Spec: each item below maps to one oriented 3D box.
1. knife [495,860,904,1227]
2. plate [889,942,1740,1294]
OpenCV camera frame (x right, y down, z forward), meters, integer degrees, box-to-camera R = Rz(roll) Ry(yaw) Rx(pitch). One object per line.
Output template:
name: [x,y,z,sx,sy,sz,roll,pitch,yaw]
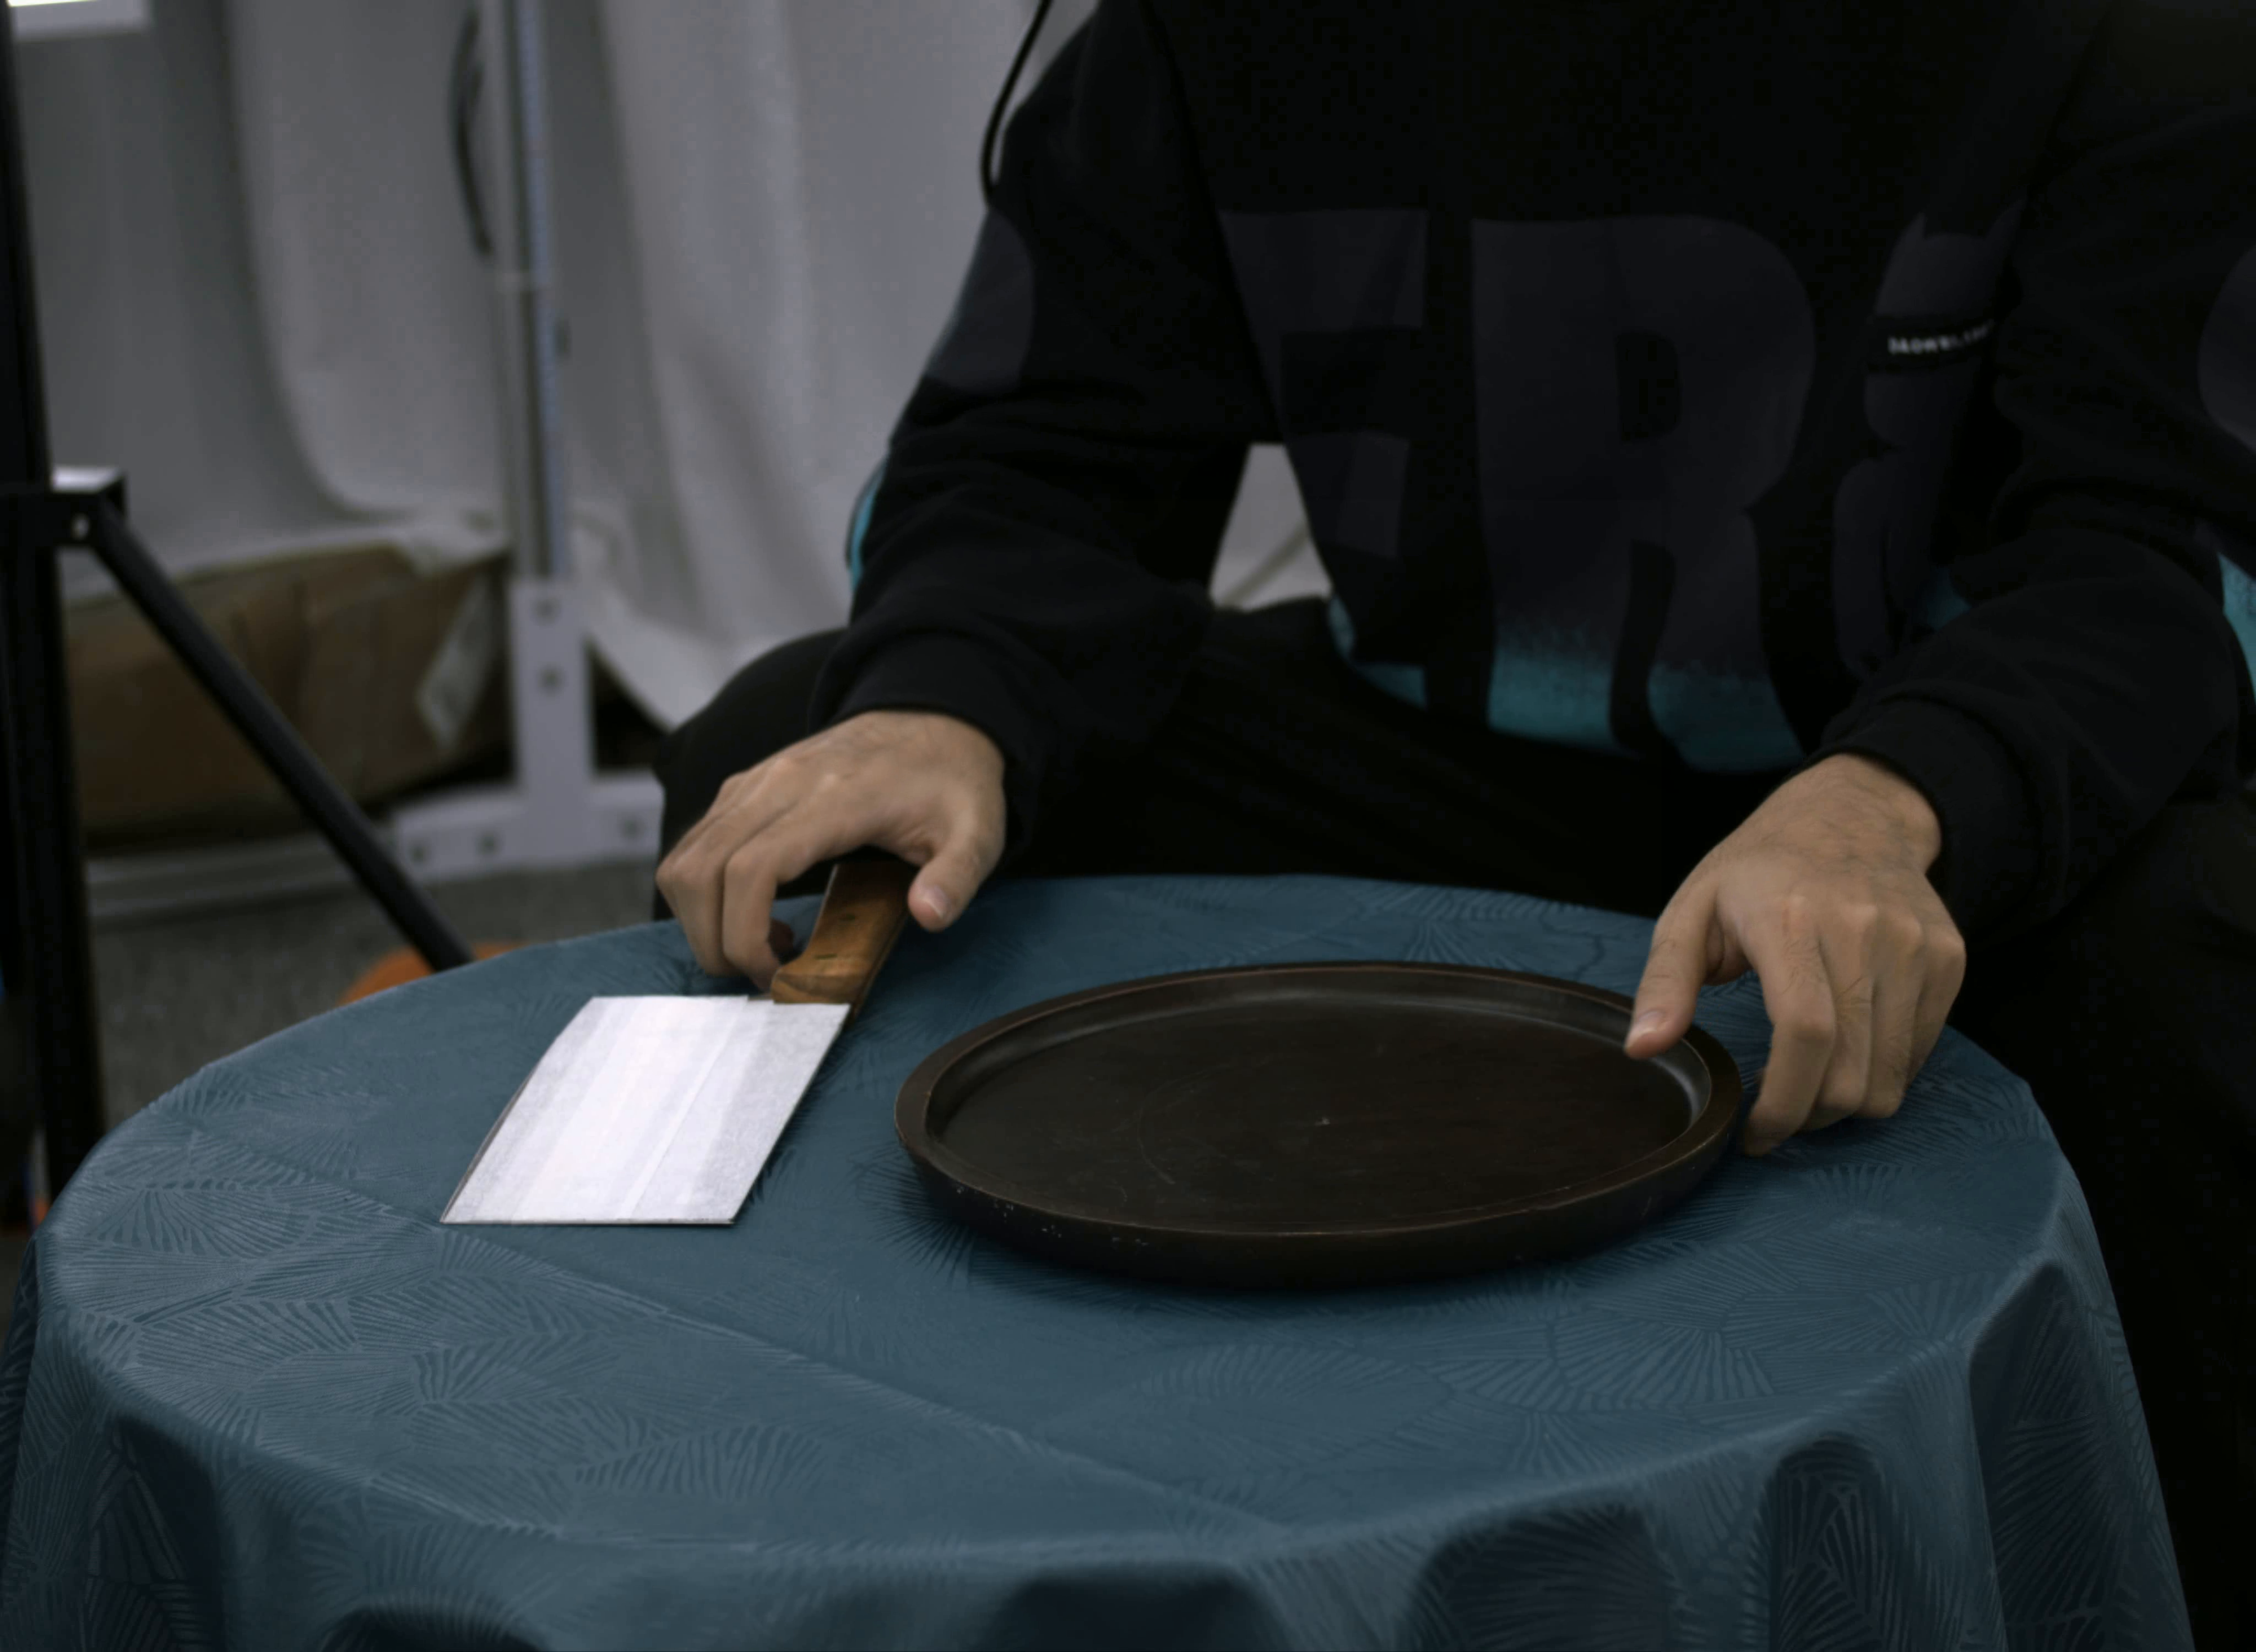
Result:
knife: [-0.135,0.068,1.696,0.093,0.021,0.305,-2,18,9]
plate: [0.055,0.087,1.576,0.253,0.029,0.256,-5,16,0]
